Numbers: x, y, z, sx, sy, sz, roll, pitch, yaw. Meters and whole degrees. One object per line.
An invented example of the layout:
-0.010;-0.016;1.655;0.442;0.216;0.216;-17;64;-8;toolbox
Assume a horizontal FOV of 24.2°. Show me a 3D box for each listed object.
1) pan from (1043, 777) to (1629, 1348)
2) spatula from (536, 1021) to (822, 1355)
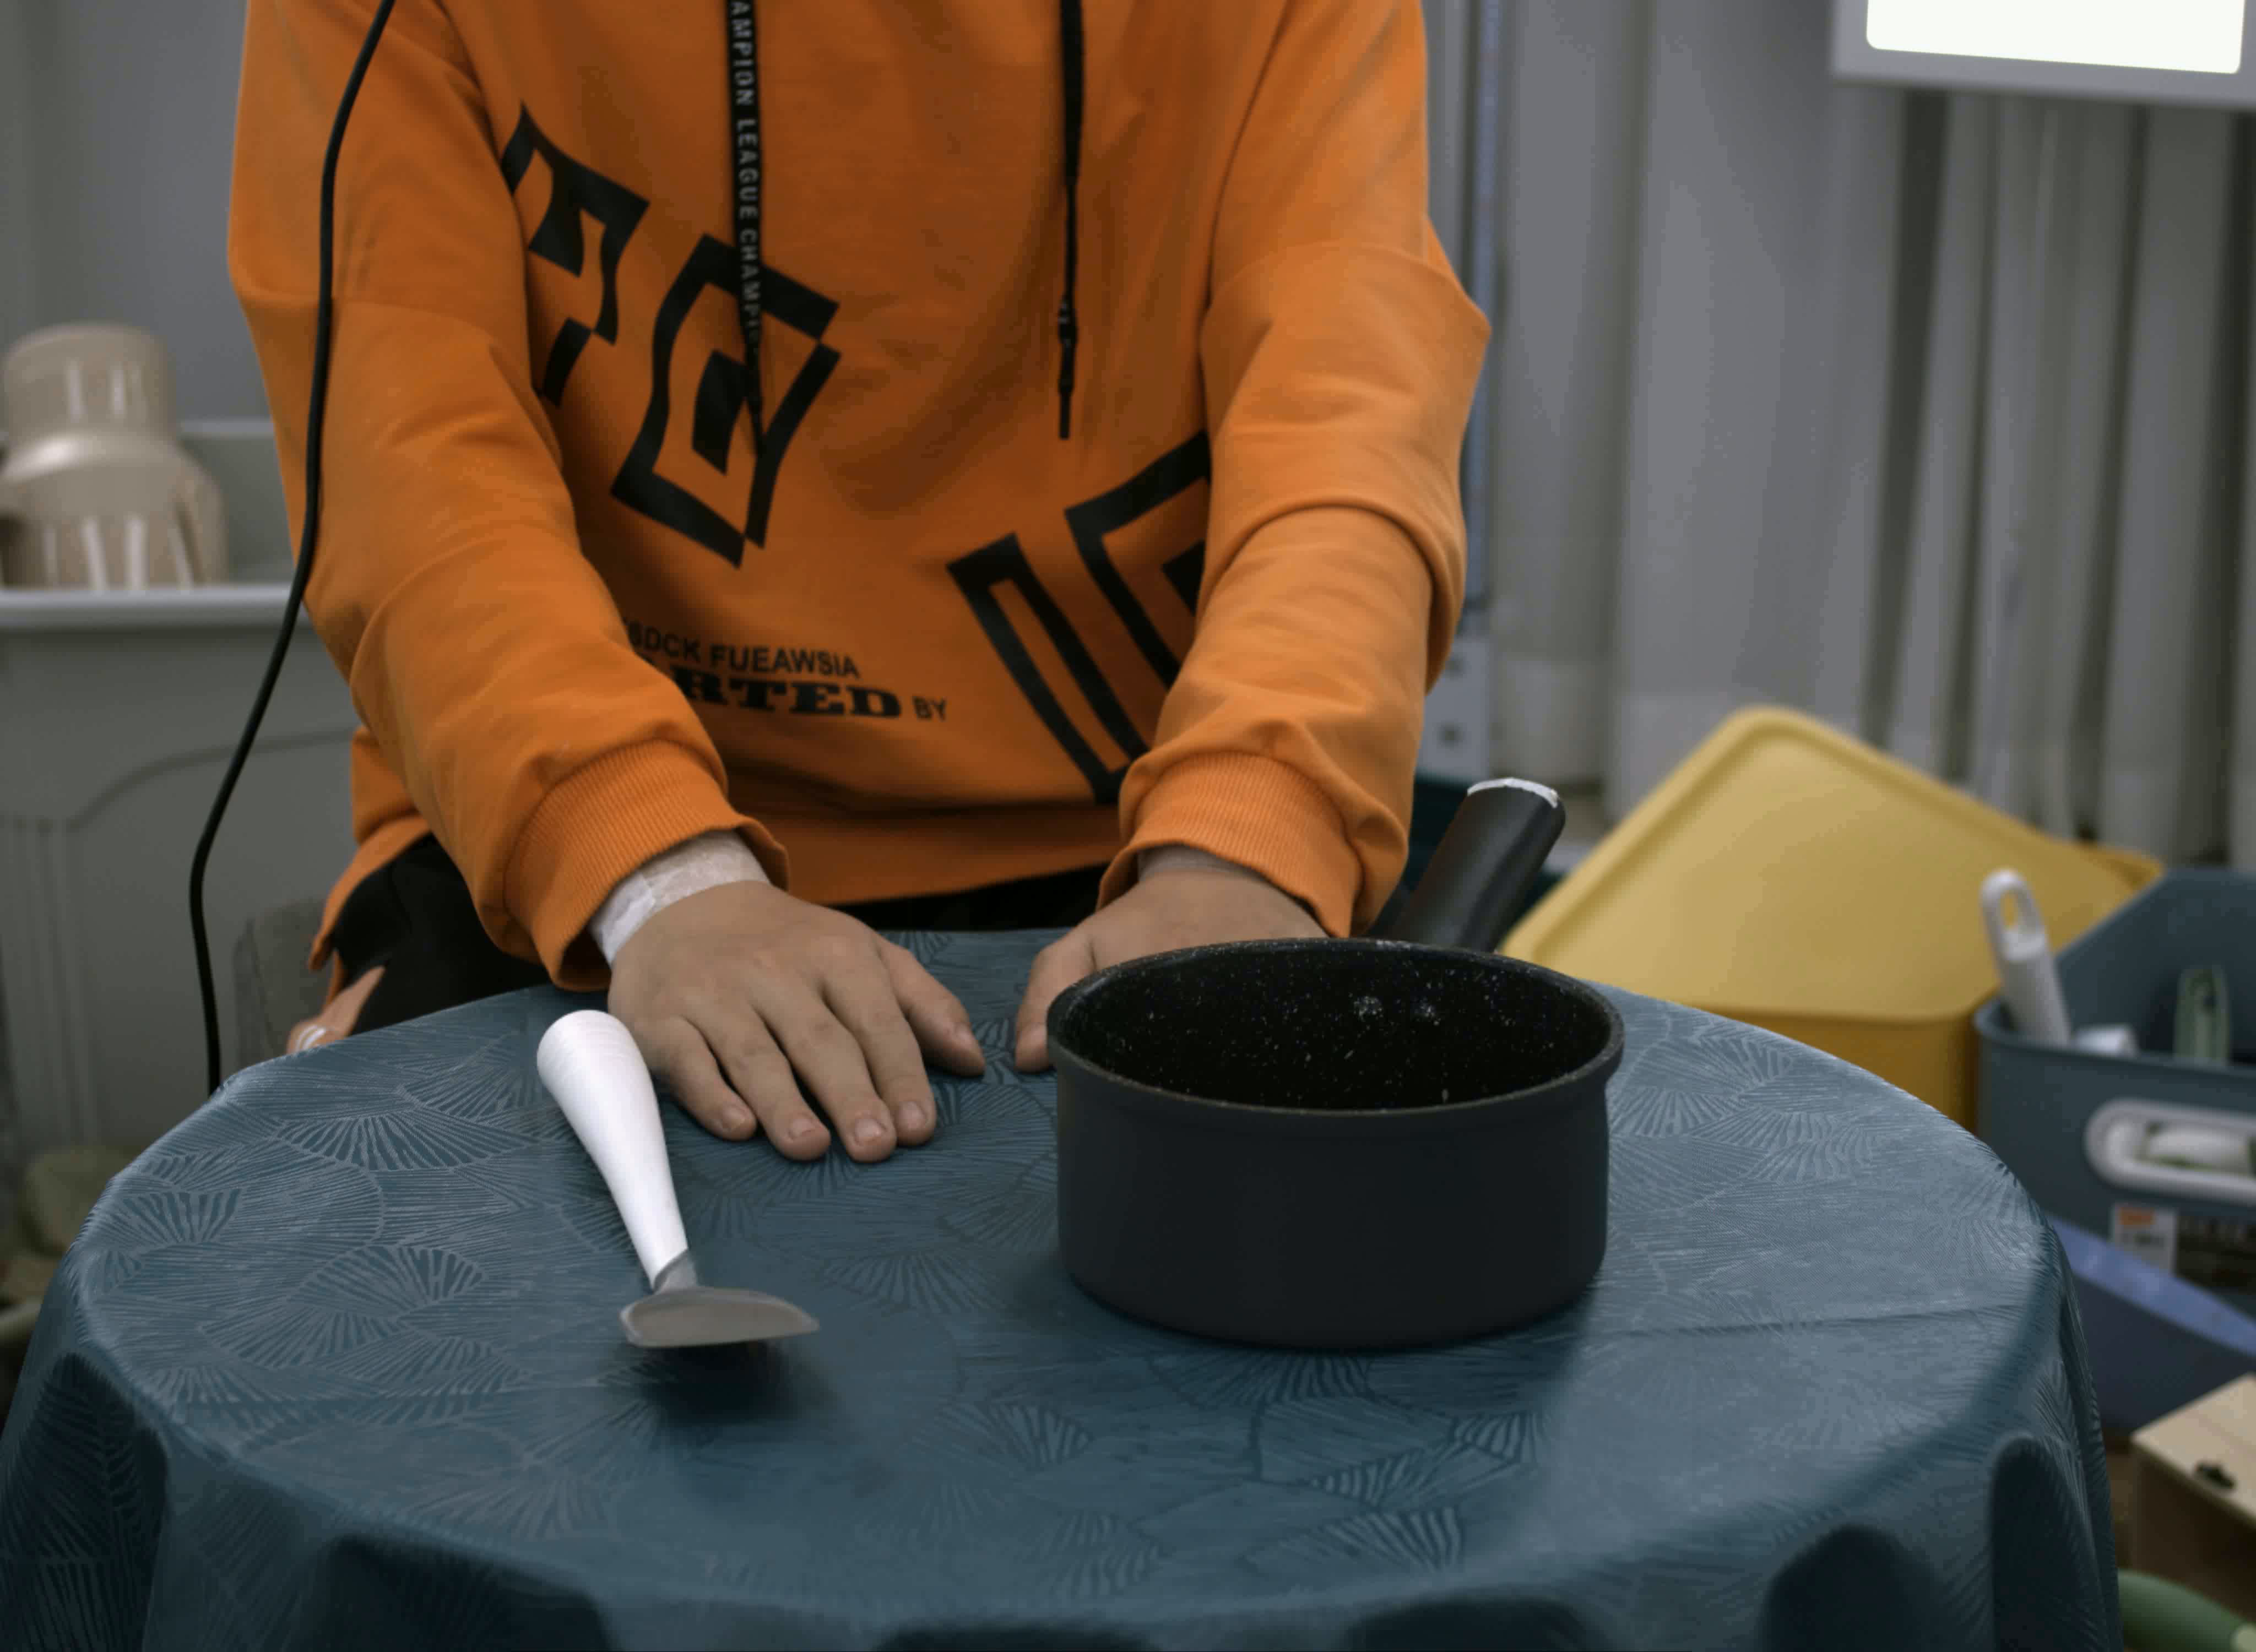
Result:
0.086;0.068;1.624;0.170;0.087;0.329;6;18;18;pan
-0.141;0.113;1.558;0.059;0.032;0.285;1;14;-14;spatula
